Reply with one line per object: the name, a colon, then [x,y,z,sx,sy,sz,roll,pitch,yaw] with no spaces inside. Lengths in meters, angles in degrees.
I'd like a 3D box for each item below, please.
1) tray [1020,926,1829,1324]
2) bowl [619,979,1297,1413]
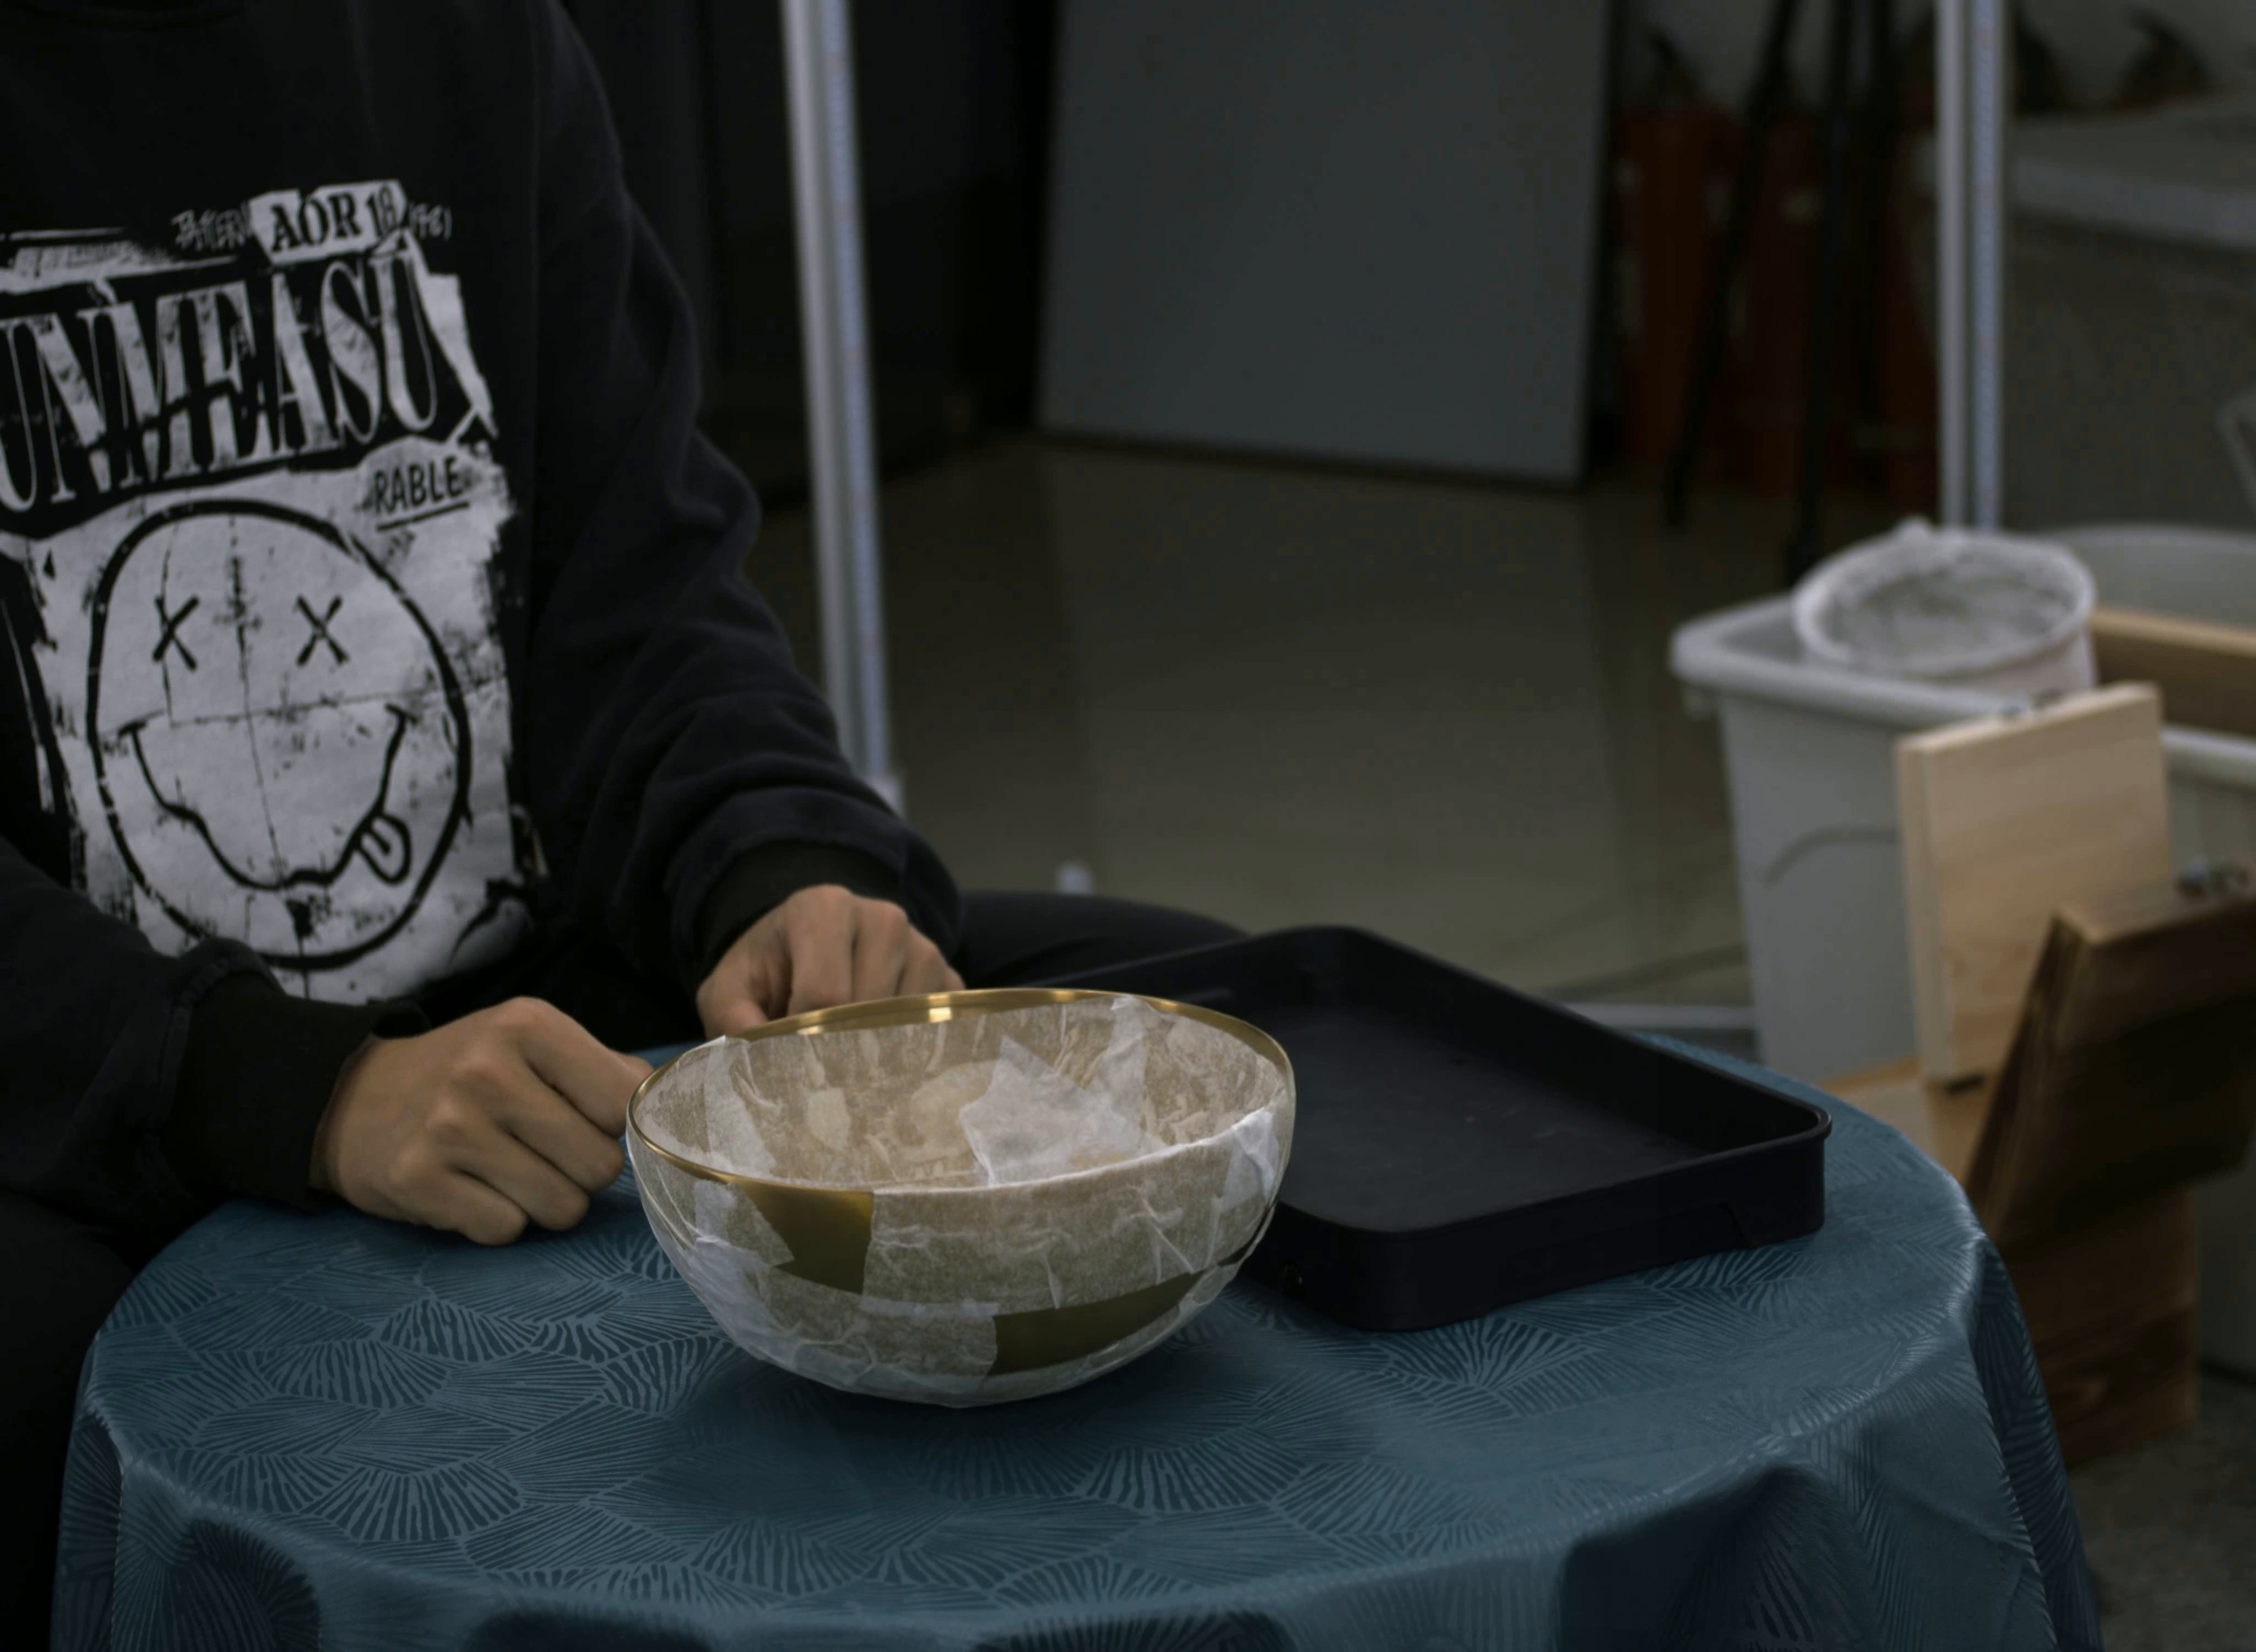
tray: [0.076,0.093,1.779,0.180,0.037,0.321,-12,15,-25]
bowl: [-0.047,0.117,1.608,0.212,0.095,0.215,-5,15,0]
